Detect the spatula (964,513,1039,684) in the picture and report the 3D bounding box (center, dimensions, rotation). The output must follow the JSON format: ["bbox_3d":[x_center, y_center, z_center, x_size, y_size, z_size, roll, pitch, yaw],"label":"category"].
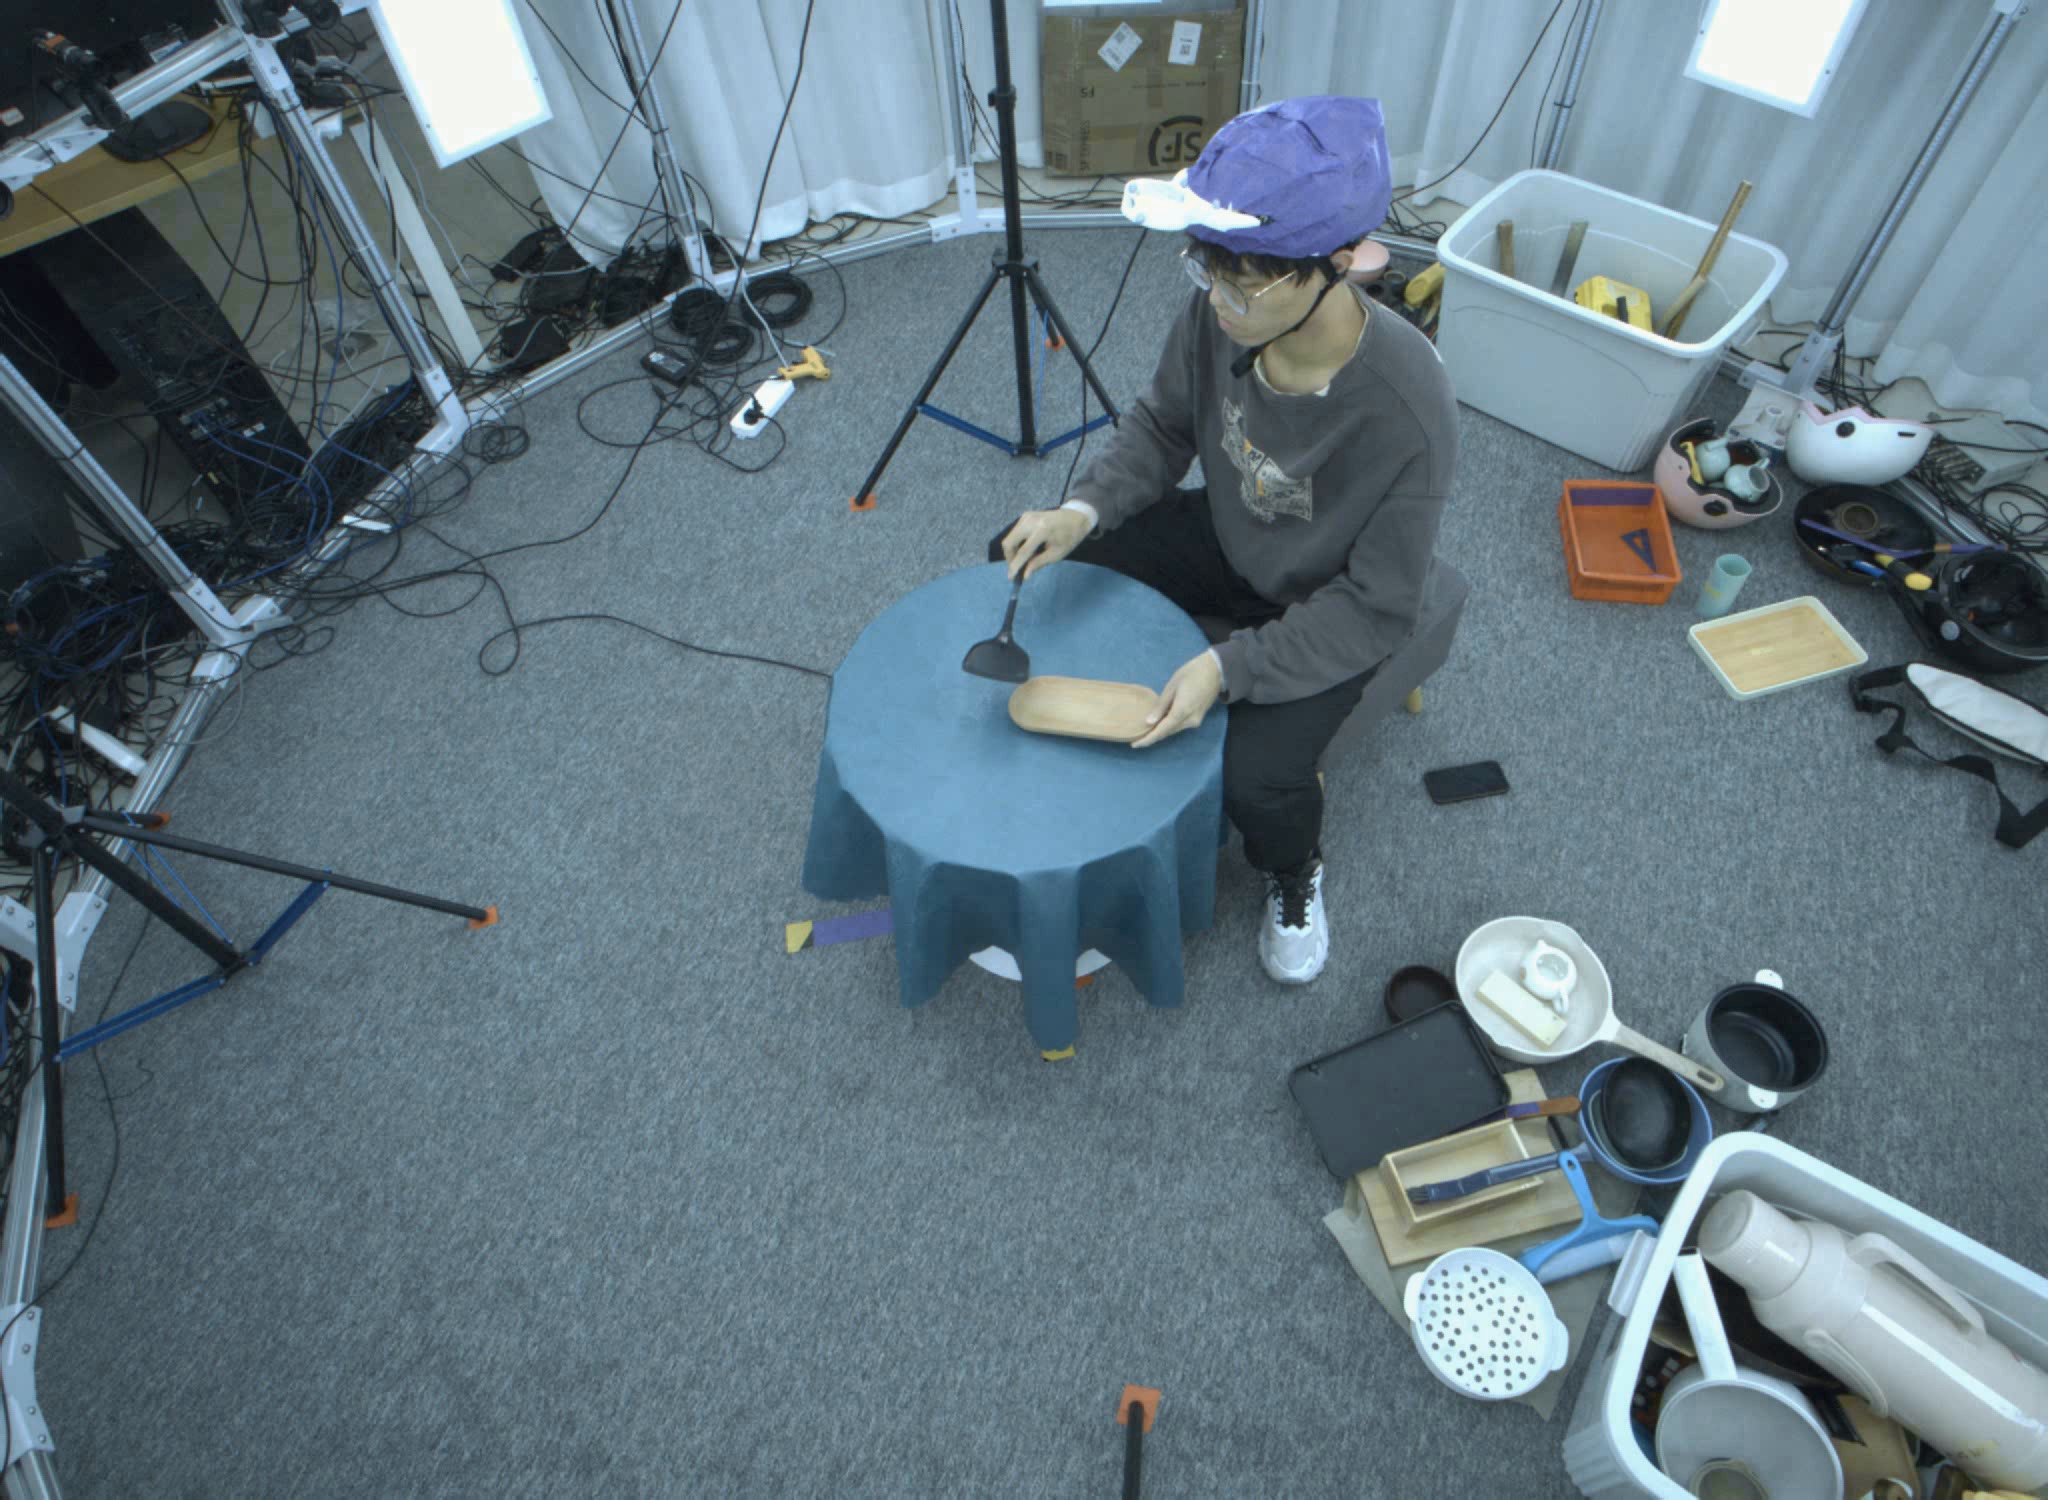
[{"bbox_3d":[-0.013,-0.234,1.824,0.100,0.040,0.324,13,64,-3],"label":"spatula"}]

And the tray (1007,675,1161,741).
[{"bbox_3d":[0.086,-0.061,1.796,0.228,0.020,0.101,6,52,19],"label":"tray"}]
